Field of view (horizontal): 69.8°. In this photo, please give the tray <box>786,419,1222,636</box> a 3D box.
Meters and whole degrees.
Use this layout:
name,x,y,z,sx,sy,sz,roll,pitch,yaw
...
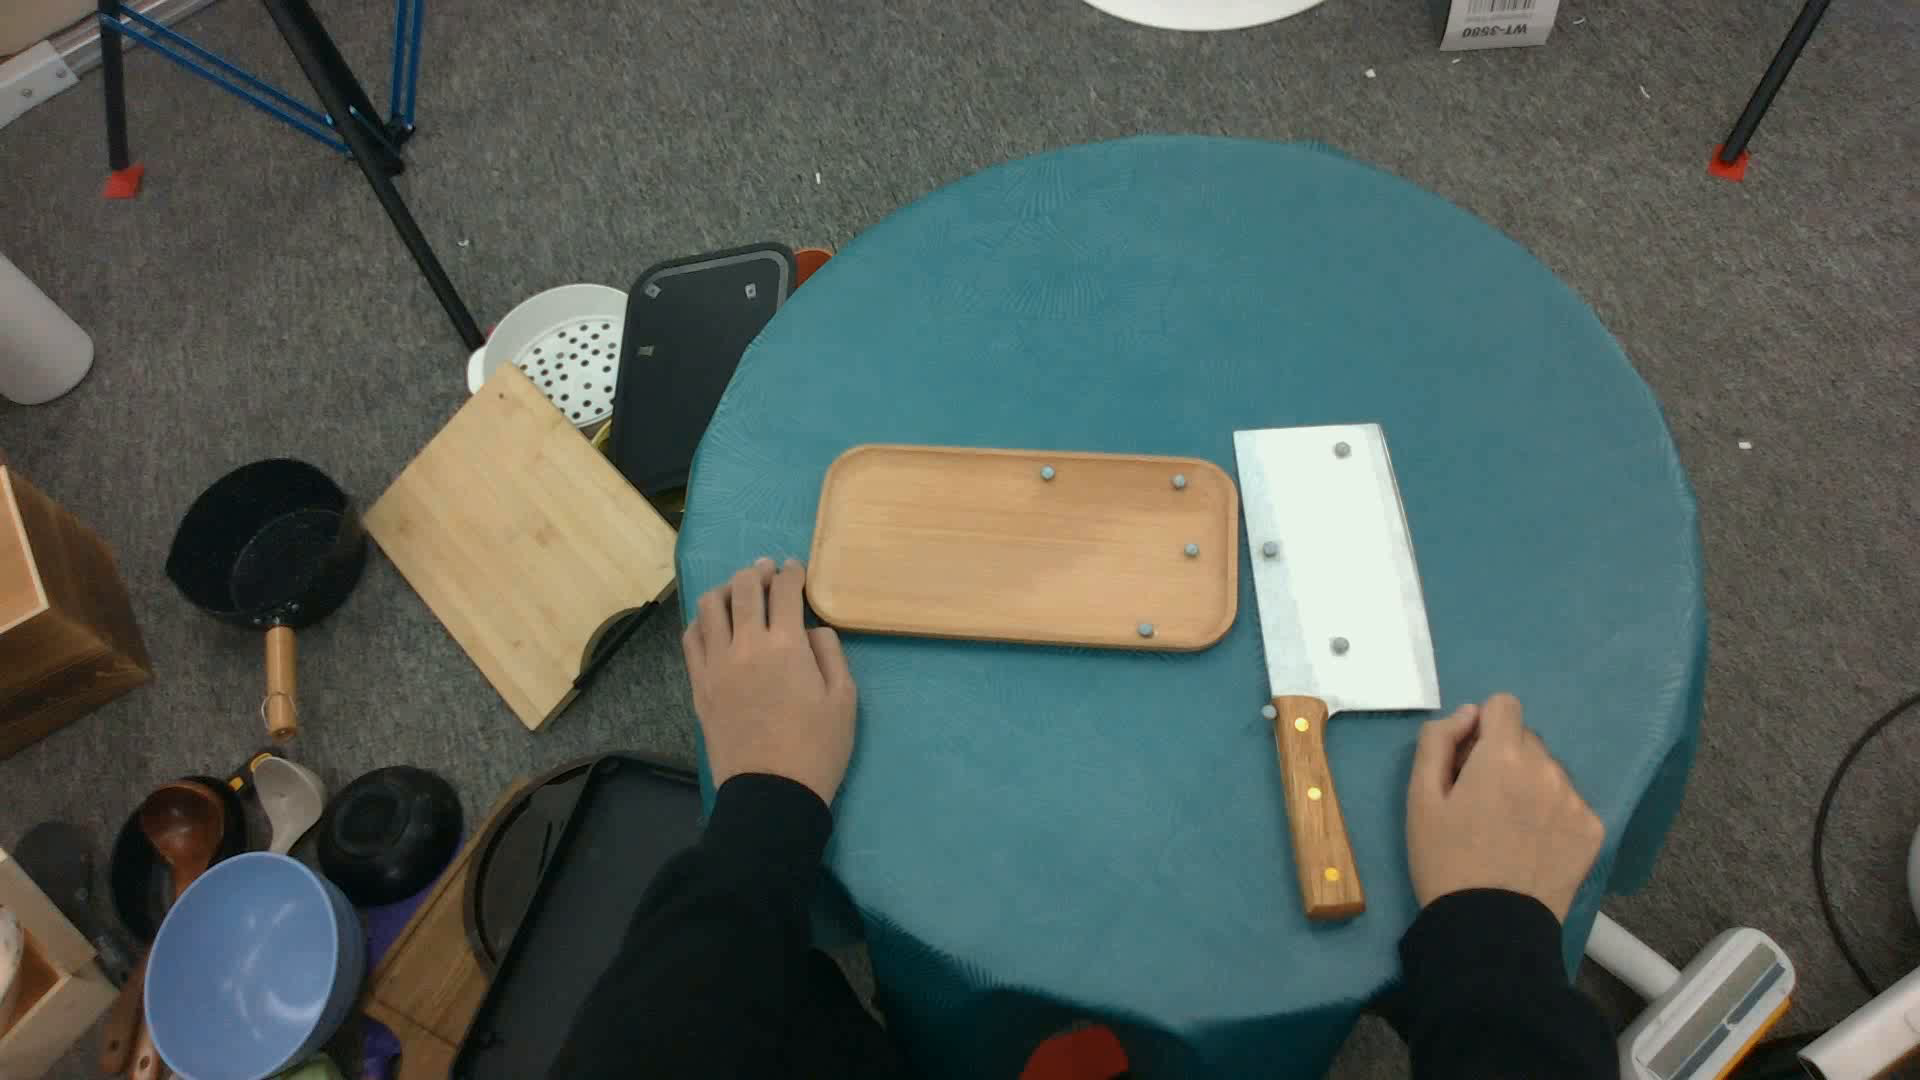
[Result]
name,x,y,z,sx,sy,sz,roll,pitch,yaw
tray,0.027,-0.008,0.812,0.250,0.023,0.131,4,60,8

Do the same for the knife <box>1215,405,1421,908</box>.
name,x,y,z,sx,sy,sz,roll,pitch,yaw
knife,0.204,0.050,0.767,0.093,0.021,0.307,-3,59,1
